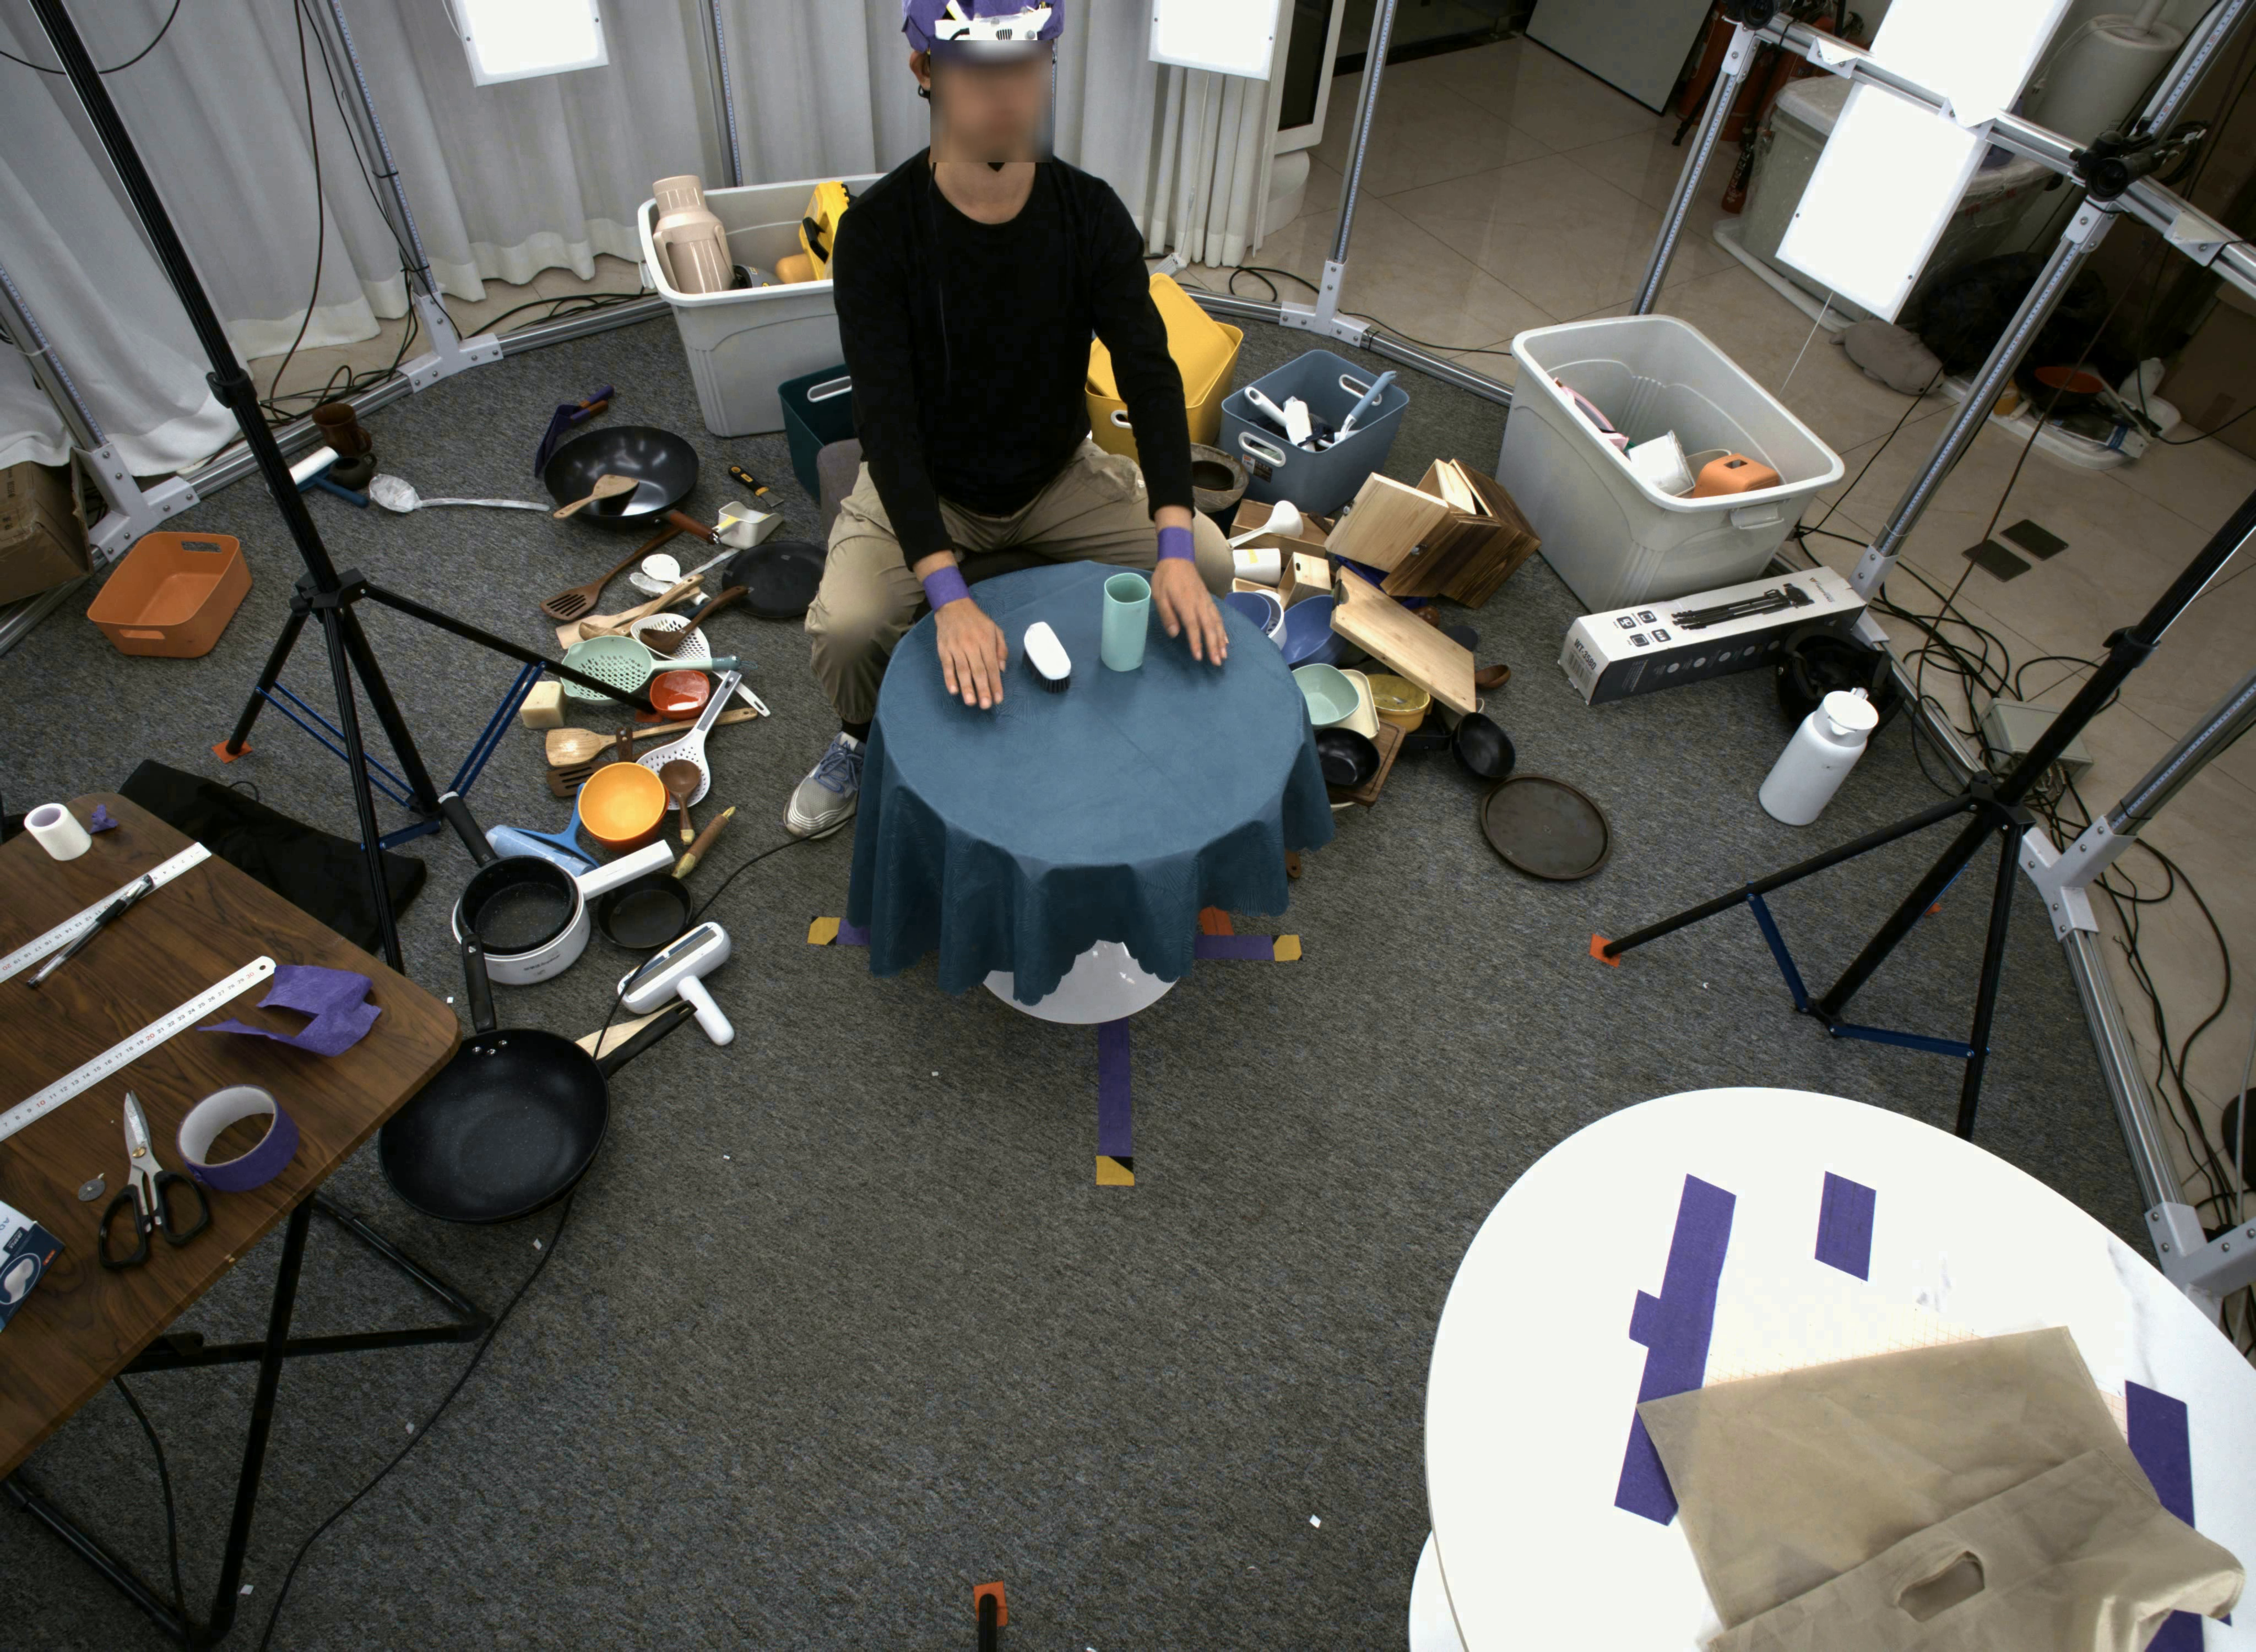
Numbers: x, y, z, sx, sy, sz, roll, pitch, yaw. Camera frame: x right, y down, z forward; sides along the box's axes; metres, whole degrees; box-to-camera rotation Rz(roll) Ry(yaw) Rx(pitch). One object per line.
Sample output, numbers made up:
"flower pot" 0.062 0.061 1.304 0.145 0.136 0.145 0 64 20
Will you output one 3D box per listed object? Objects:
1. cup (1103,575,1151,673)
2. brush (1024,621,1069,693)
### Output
"cup" -0.004 -0.288 1.836 0.066 0.129 0.068 2 50 -3
"brush" -0.115 -0.248 1.826 0.050 0.071 0.101 -15 53 -18
